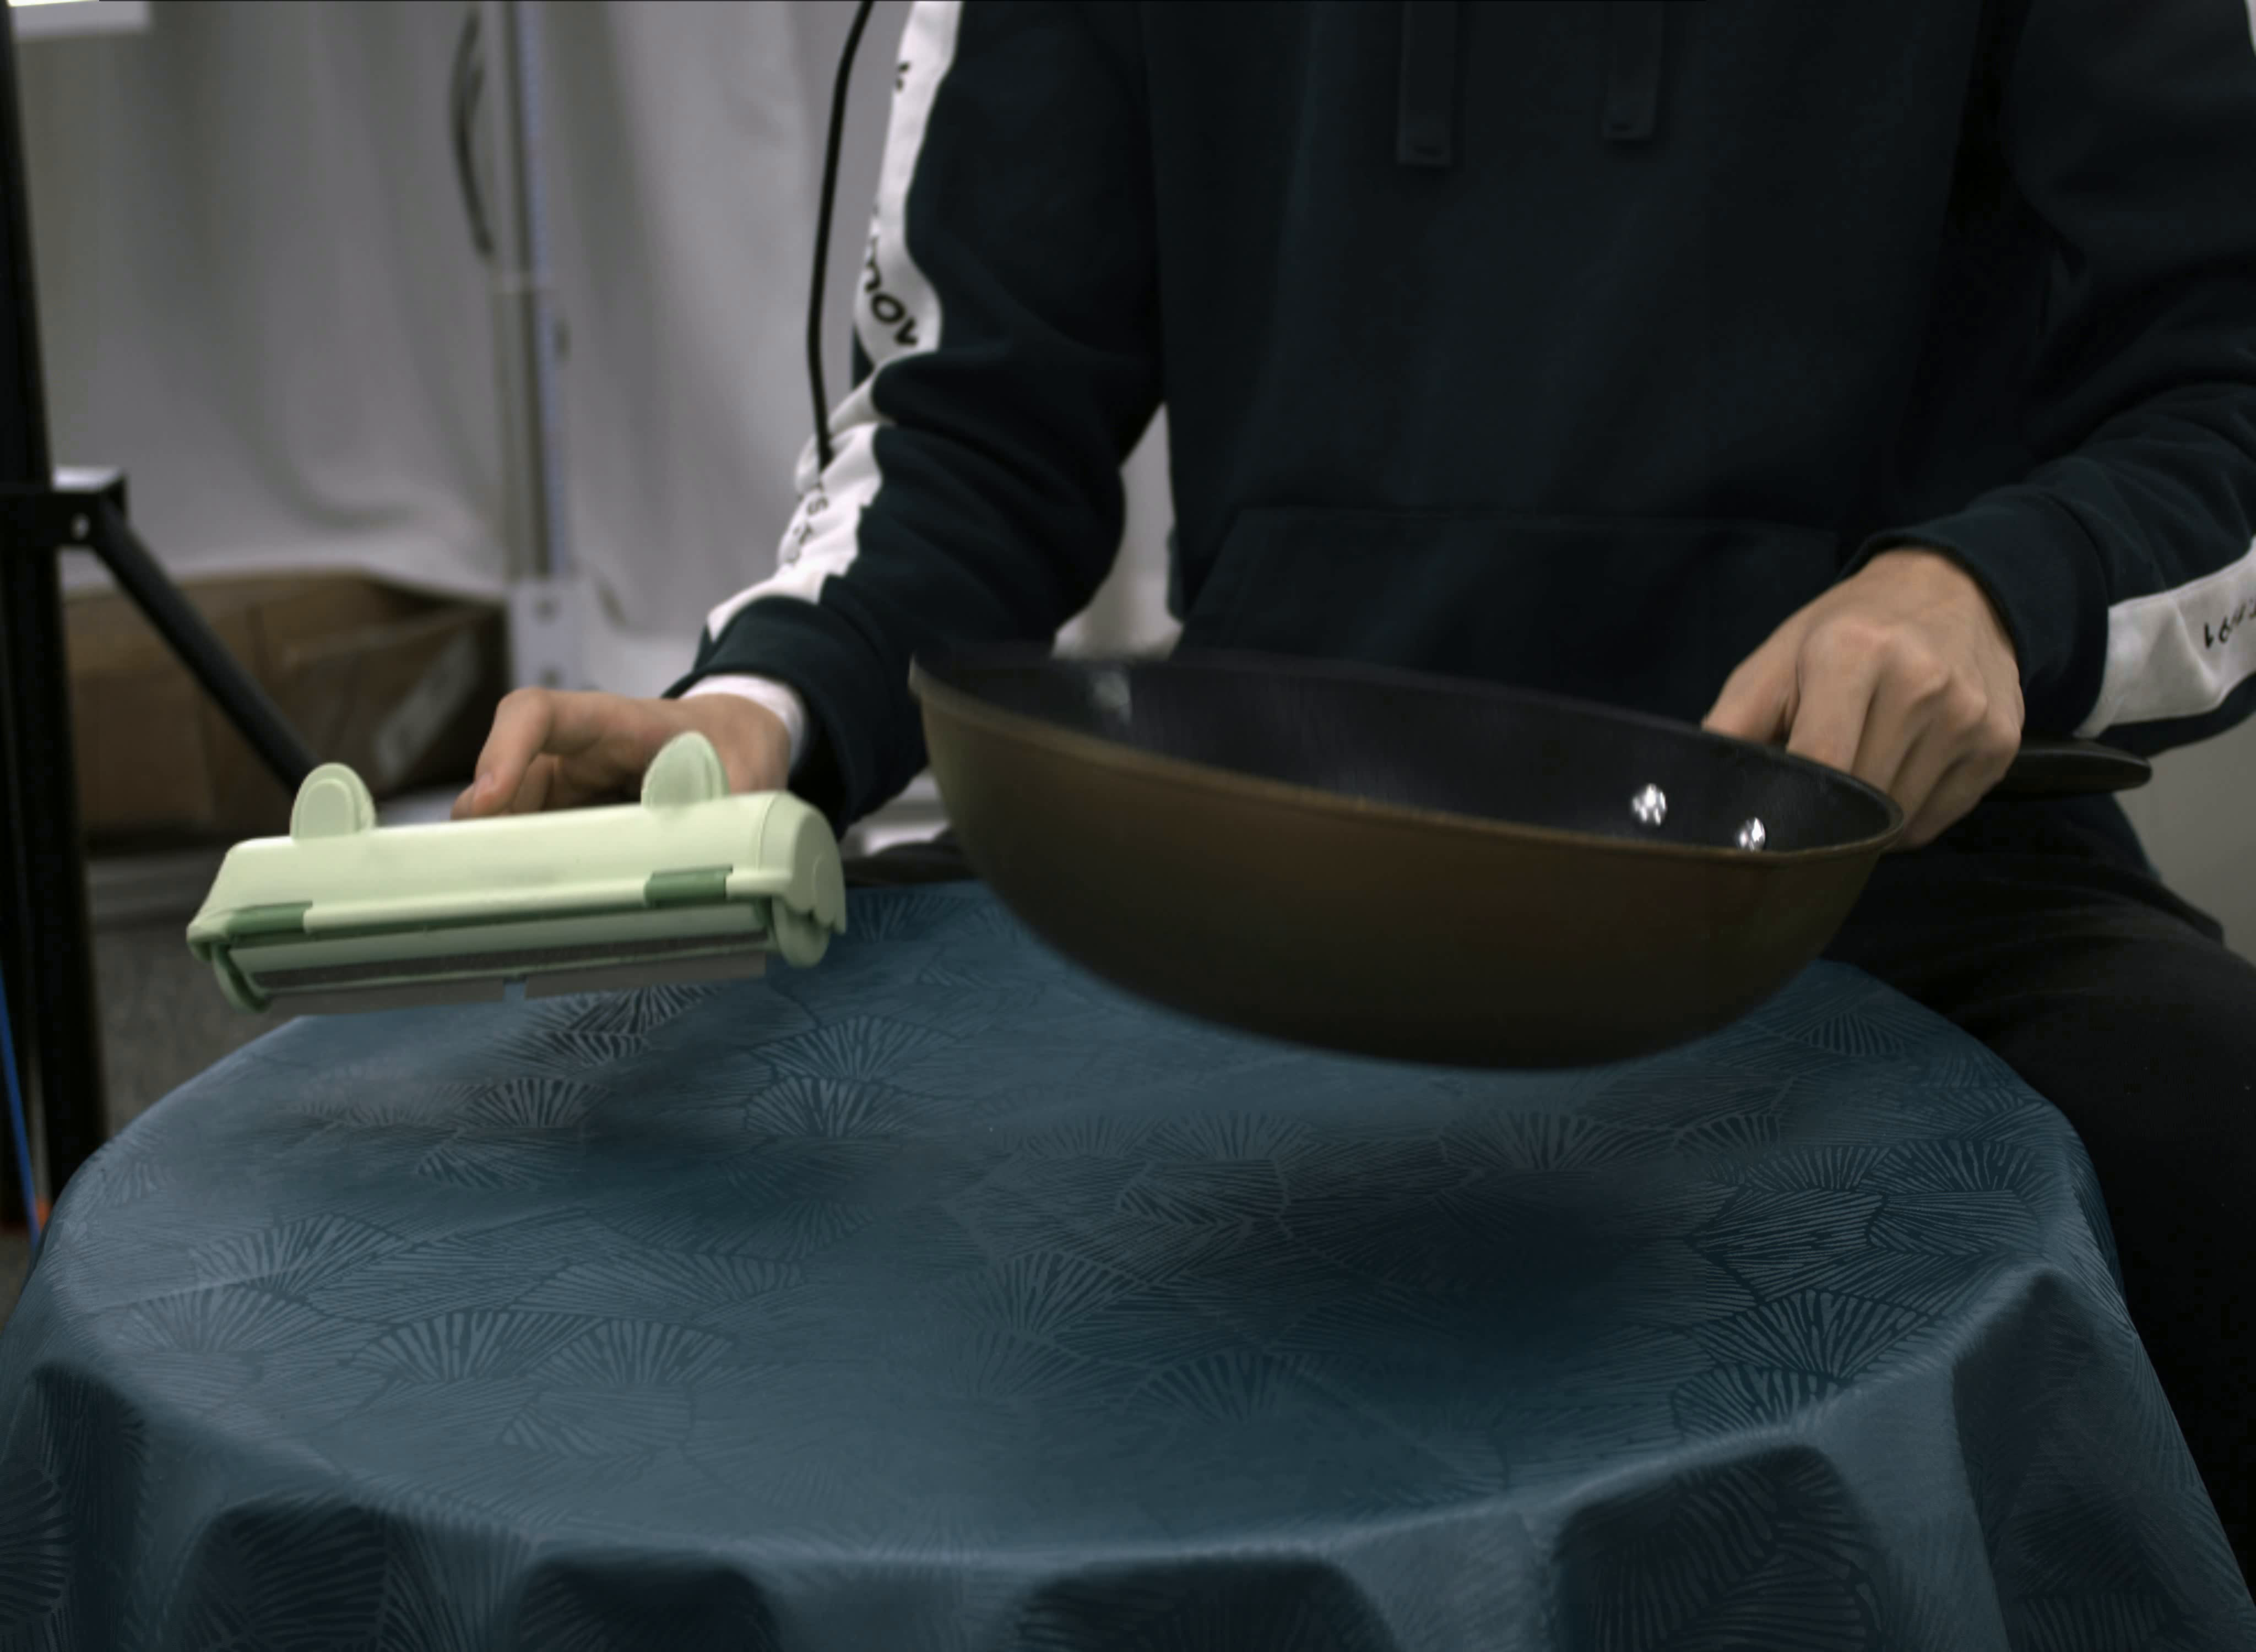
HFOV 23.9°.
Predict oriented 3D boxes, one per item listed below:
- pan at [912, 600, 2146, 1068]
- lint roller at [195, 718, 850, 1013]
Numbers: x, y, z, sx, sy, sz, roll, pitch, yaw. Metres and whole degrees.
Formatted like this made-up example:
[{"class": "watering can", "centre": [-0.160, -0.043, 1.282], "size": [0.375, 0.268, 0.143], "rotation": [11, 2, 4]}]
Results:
[{"class": "pan", "centre": [0.136, 0.009, 1.539], "size": [0.451, 0.087, 0.295], "rotation": [2, 13, -42]}, {"class": "lint roller", "centre": [-0.173, -0.001, 1.682], "size": [0.200, 0.082, 0.182], "rotation": [-6, 16, 17]}]
